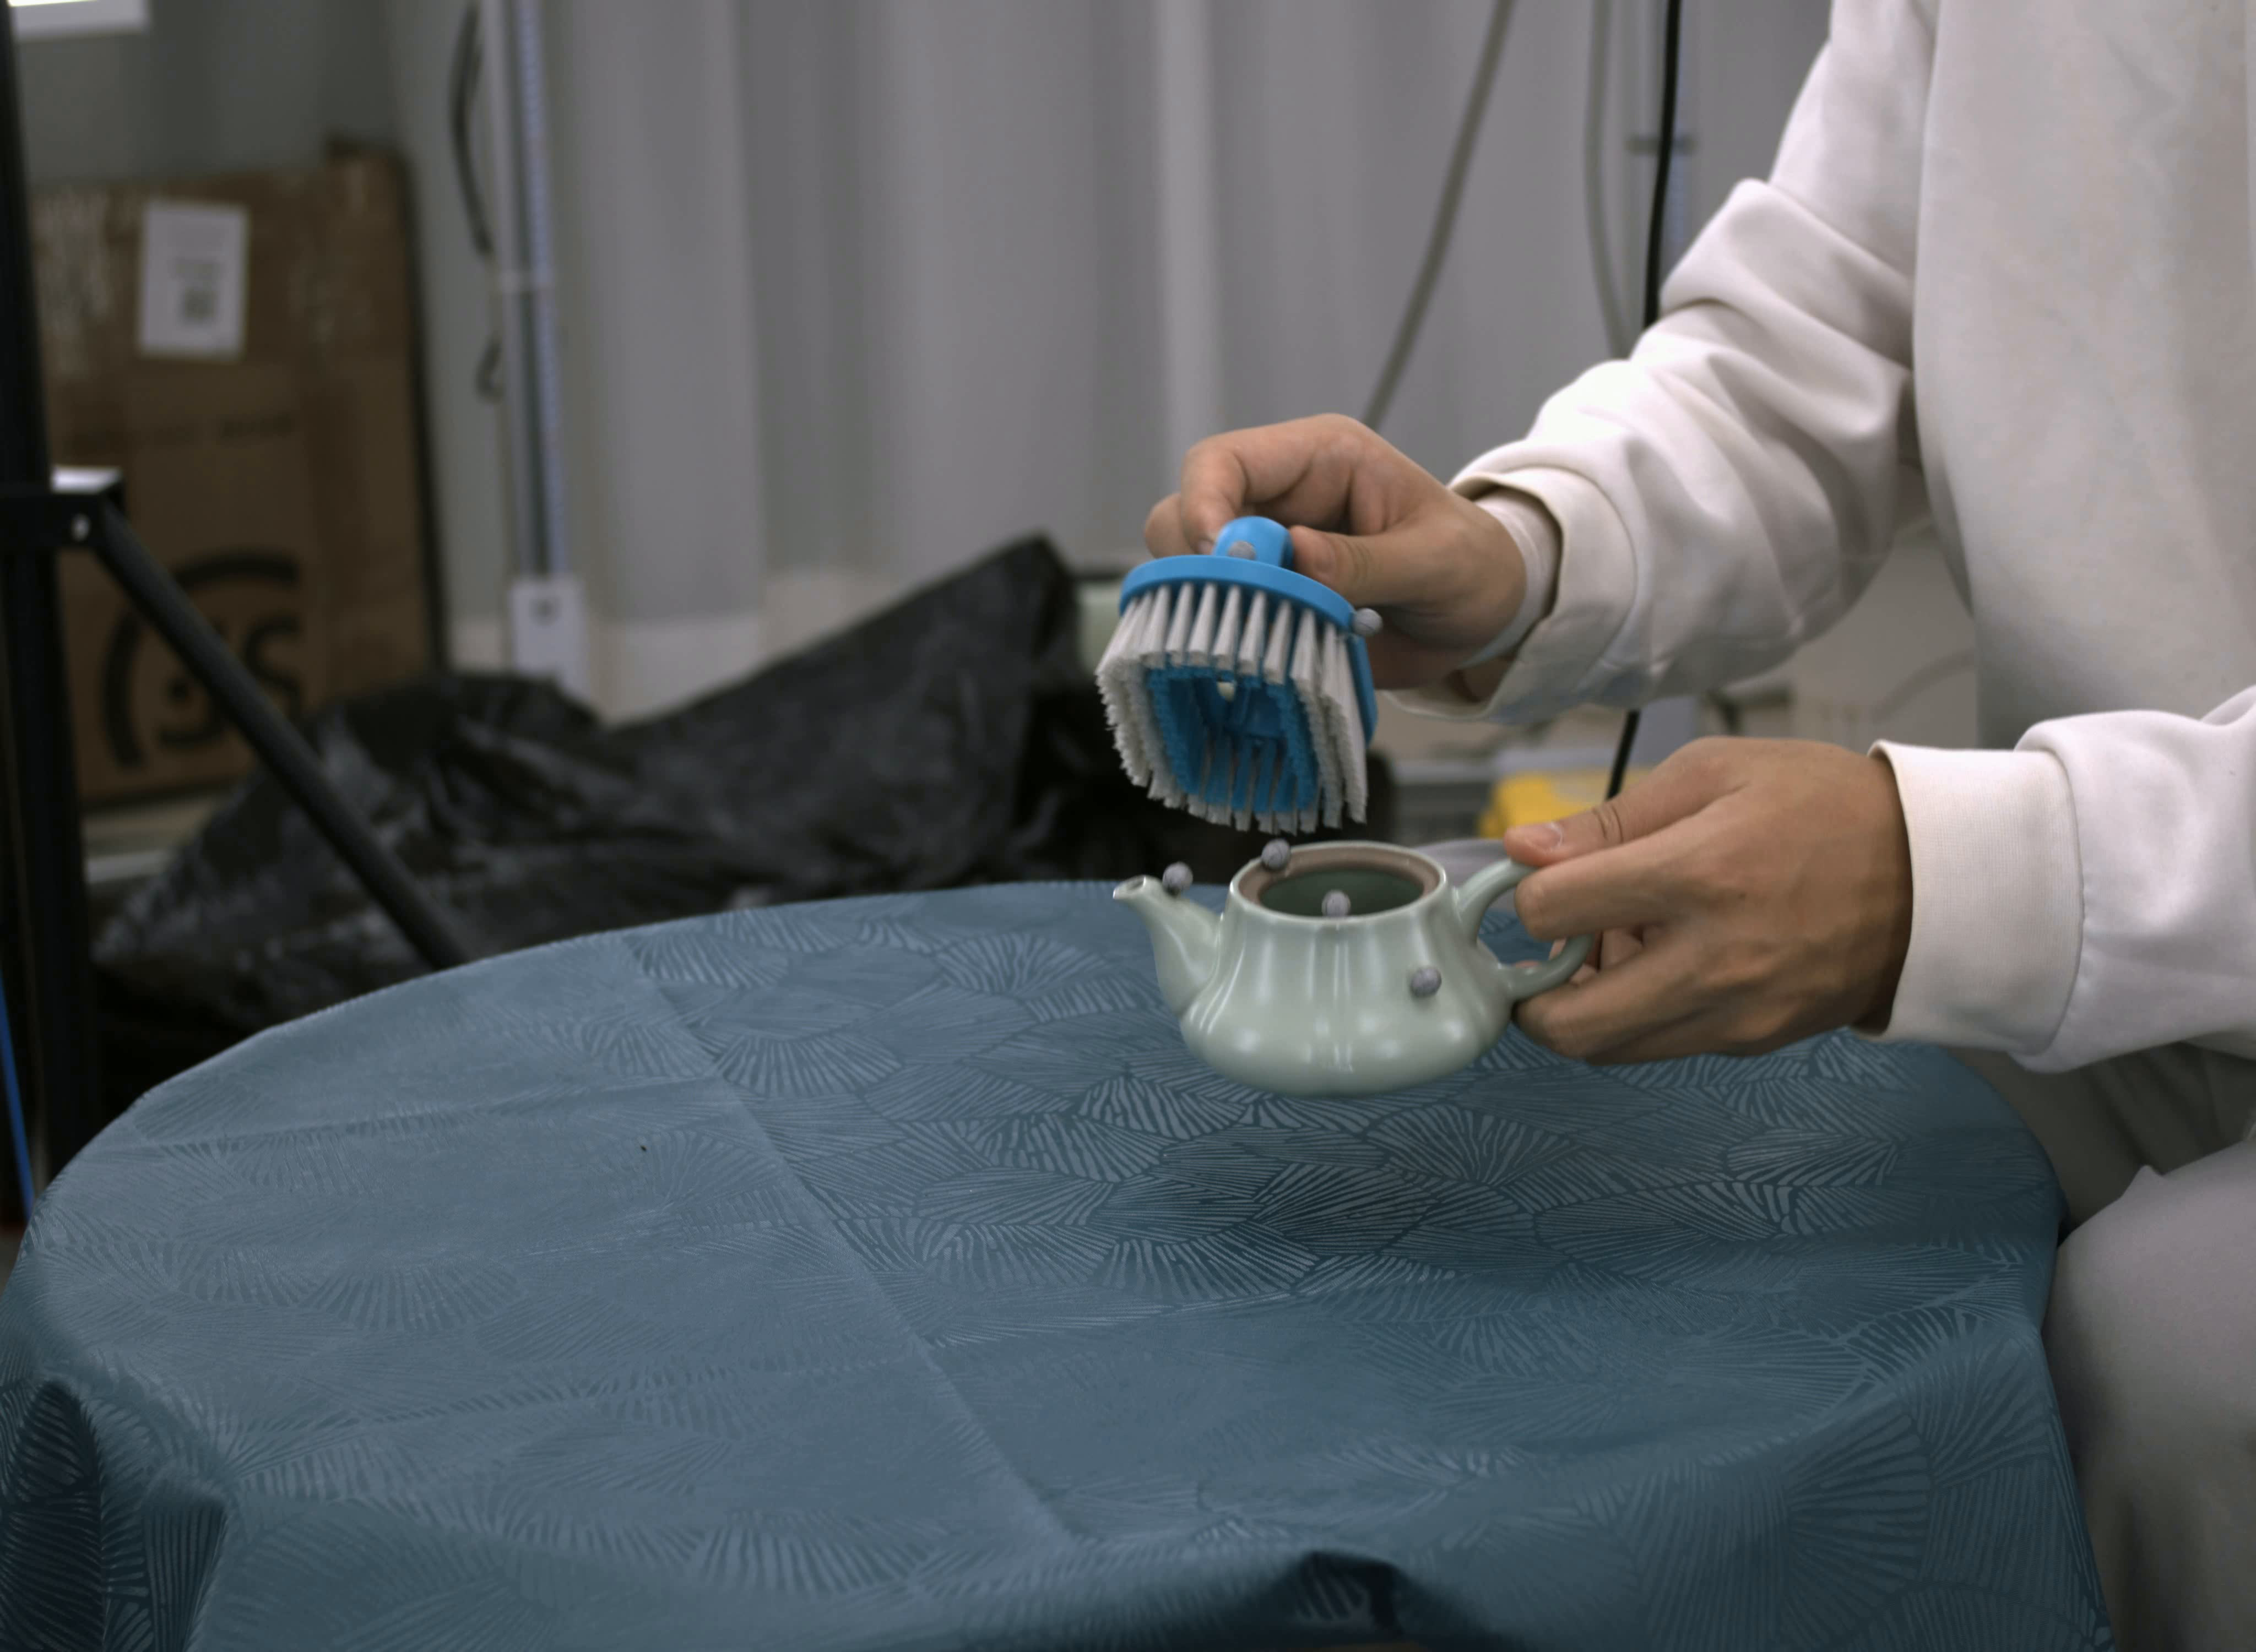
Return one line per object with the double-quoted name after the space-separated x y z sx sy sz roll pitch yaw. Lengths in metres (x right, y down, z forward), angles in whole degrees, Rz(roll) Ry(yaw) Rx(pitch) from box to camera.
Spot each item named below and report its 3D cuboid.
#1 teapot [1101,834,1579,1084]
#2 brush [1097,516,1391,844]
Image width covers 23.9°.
0.062 0.037 1.522 0.136 0.061 0.096 -2 16 3 "teapot"
0.038 -0.051 1.600 0.084 0.064 0.140 3 -24 8 "brush"
